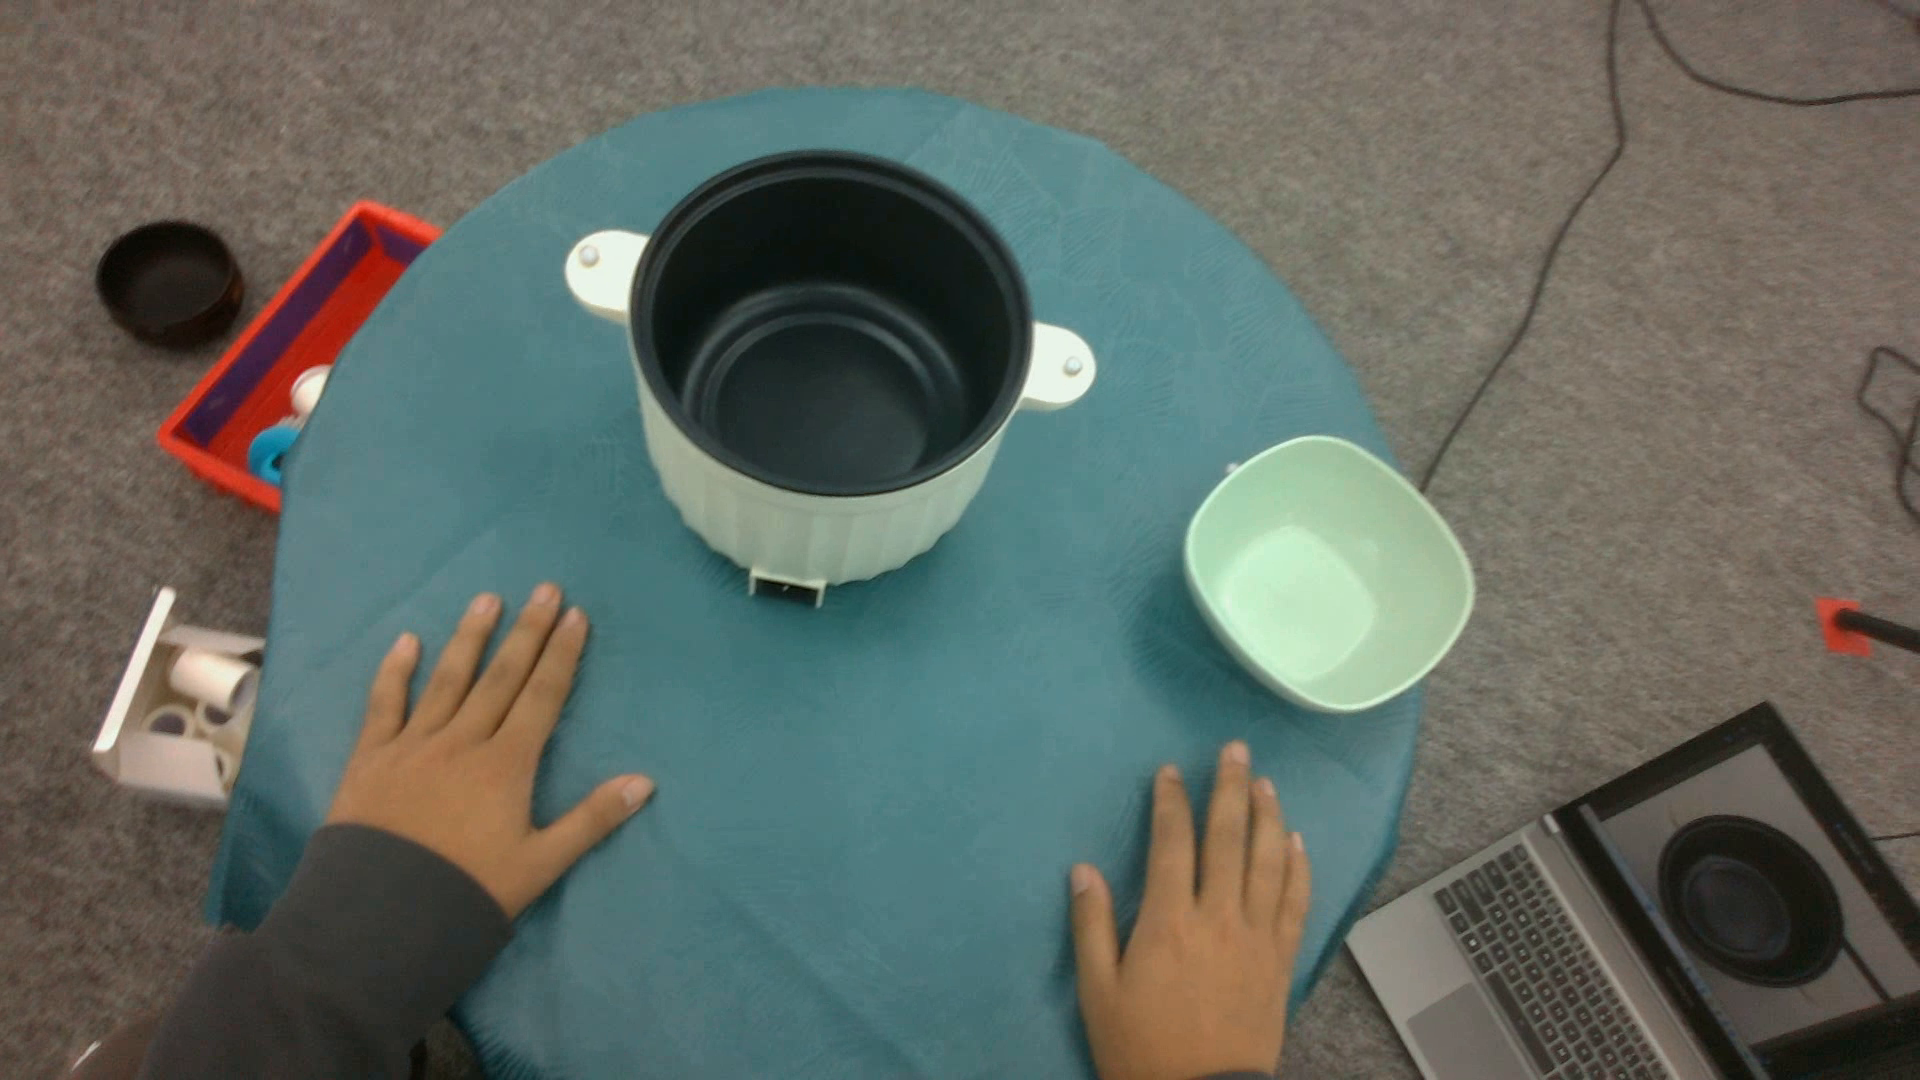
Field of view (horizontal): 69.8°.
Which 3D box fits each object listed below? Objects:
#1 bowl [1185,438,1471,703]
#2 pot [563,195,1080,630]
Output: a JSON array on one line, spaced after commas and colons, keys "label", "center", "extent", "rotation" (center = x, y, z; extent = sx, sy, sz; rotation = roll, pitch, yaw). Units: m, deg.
[{"label": "bowl", "center": [0.189, 0.024, 0.735], "extent": [0.151, 0.058, 0.152], "rotation": [3, 62, -5]}, {"label": "pot", "center": [-0.071, -0.065, 0.697], "extent": [0.240, 0.142, 0.191], "rotation": [7, 66, -6]}]
